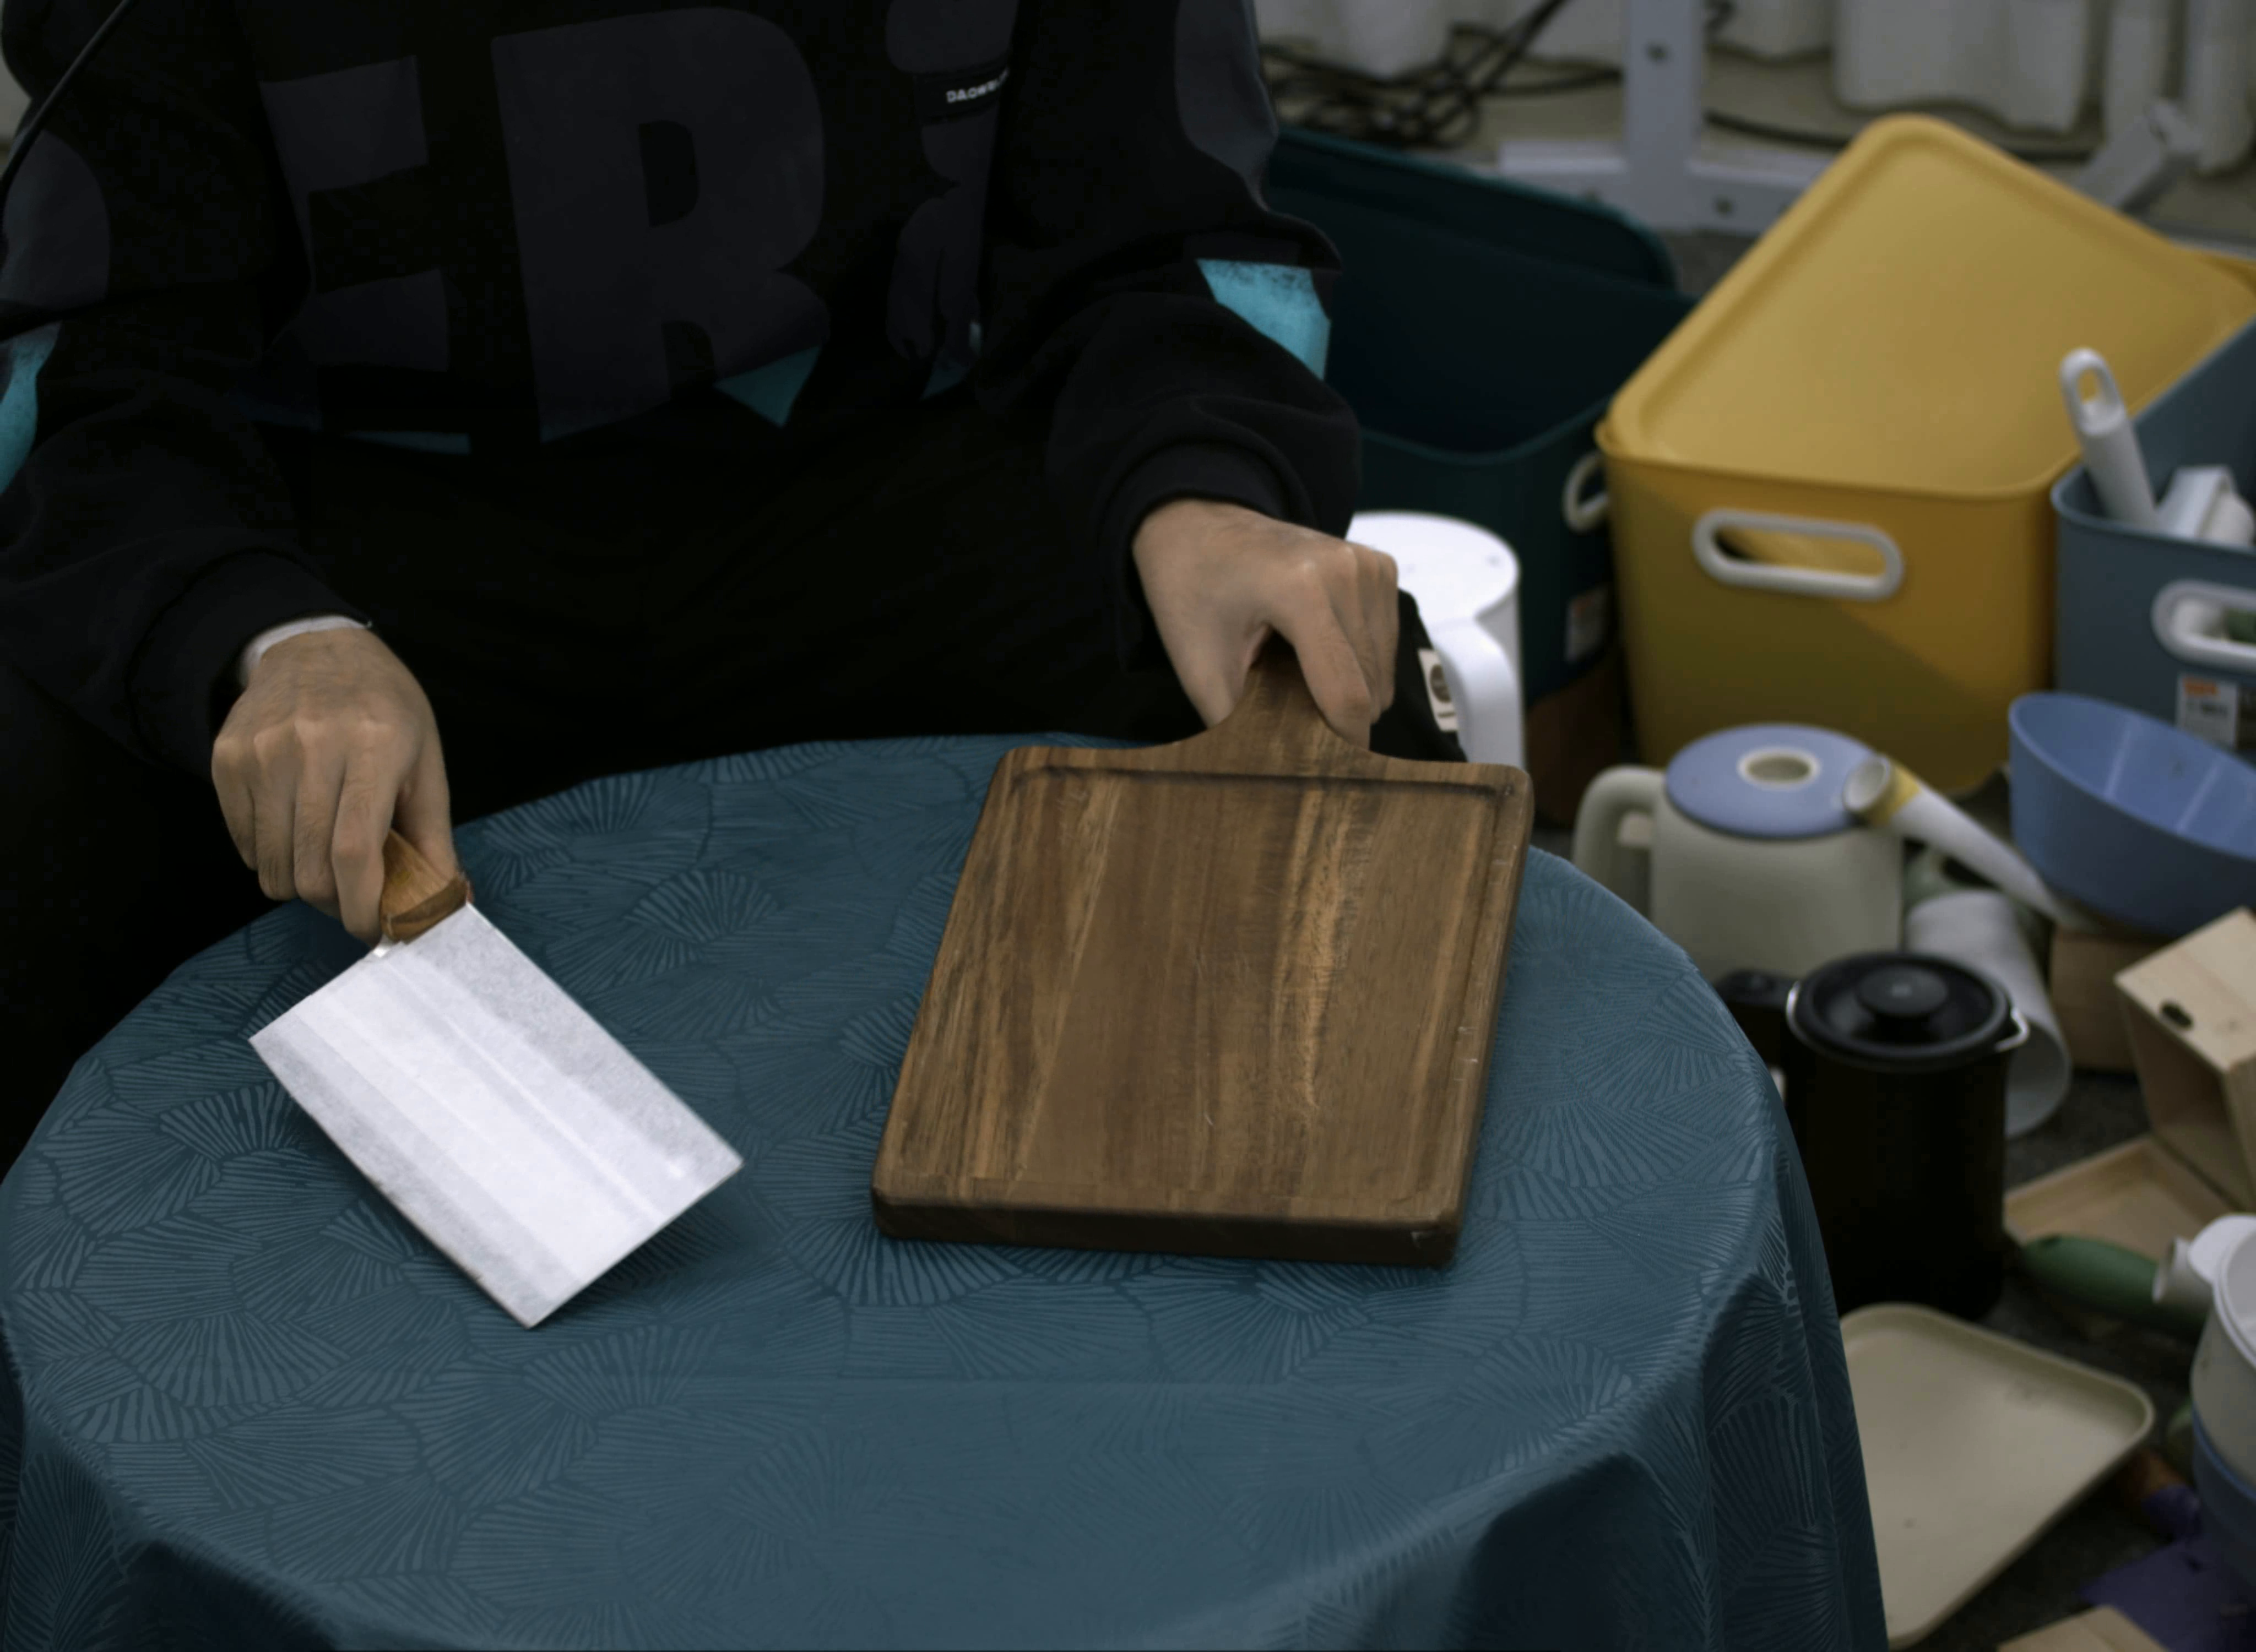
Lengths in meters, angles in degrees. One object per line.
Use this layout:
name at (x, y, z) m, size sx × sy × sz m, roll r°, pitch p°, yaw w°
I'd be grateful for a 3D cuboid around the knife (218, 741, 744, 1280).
knife at (-0.245, 0.064, 1.917) m, size 0.093 × 0.021 × 0.307 m, roll -37°, pitch 46°, yaw -16°

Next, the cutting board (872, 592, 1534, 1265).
cutting board at (0.038, 0.027, 1.960) m, size 0.200 × 0.023 × 0.359 m, roll 2°, pitch 37°, yaw 10°
